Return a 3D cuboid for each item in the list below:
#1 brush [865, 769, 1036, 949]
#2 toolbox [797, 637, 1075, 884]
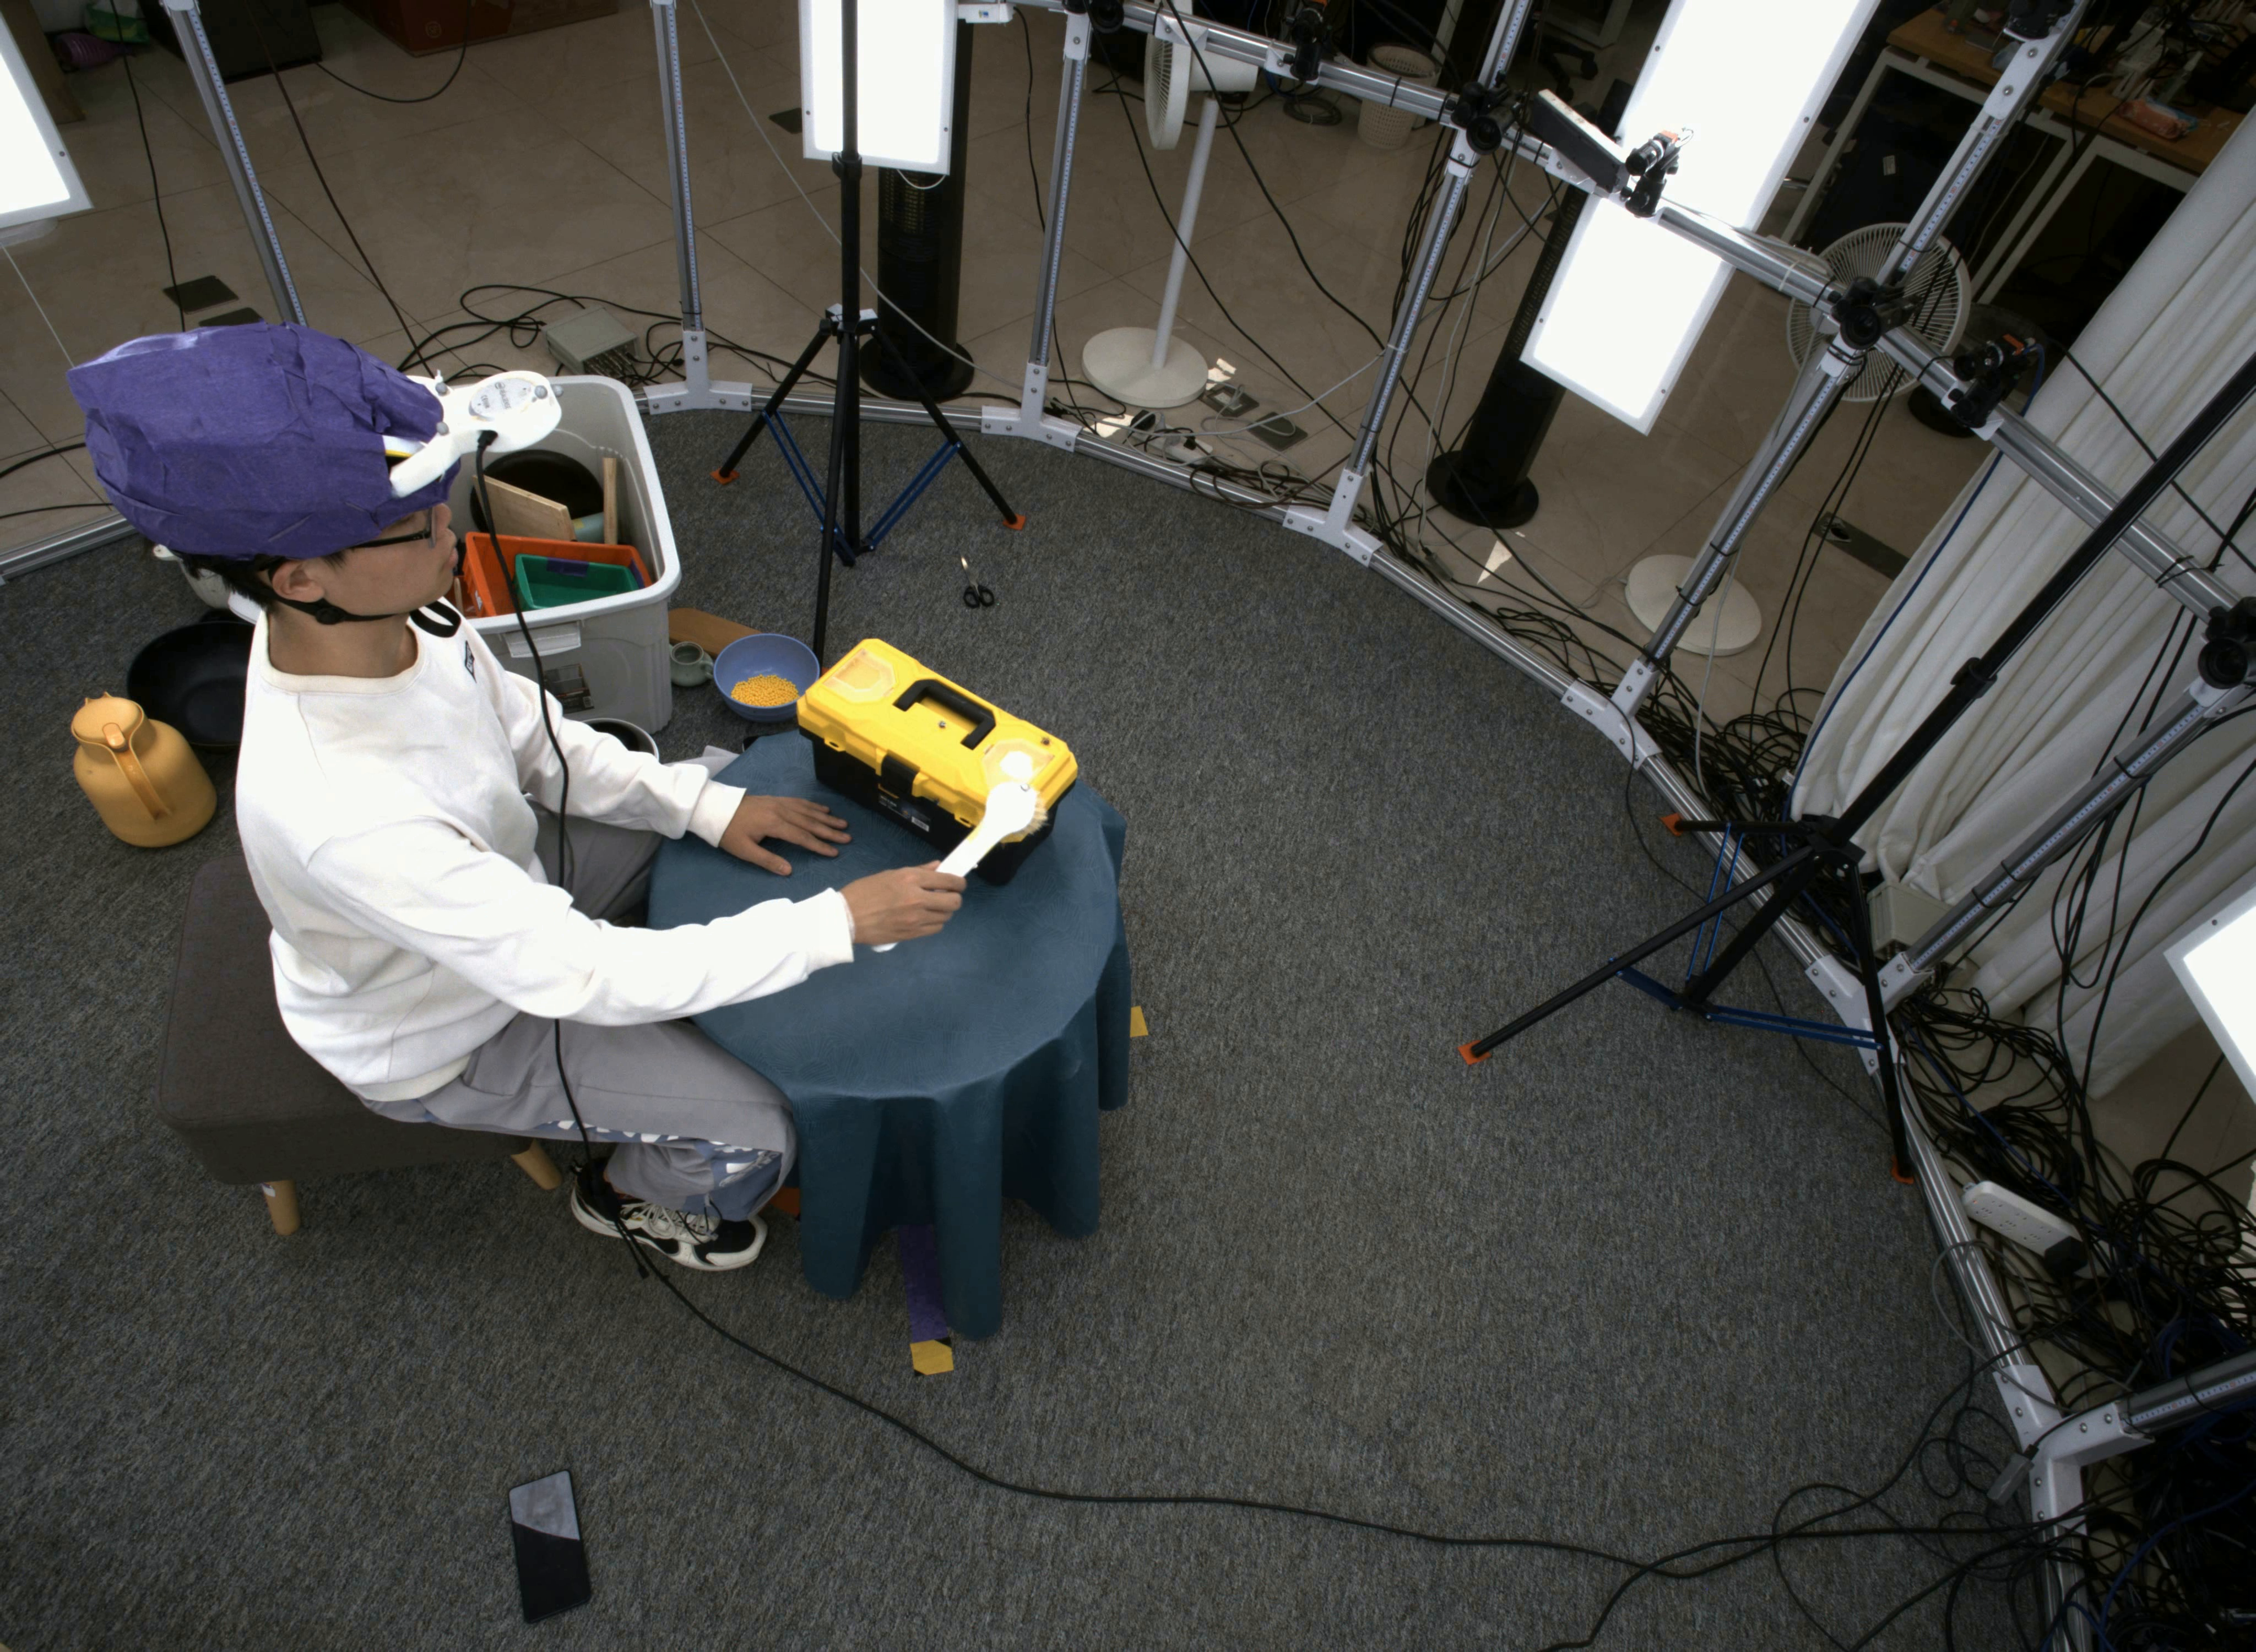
[{"bbox_3d":[-0.210,0.043,1.538,0.066,0.058,0.267,39,87,25],"label":"brush"},{"bbox_3d":[-0.257,-0.084,1.725,0.345,0.176,0.181,29,52,11],"label":"toolbox"}]
